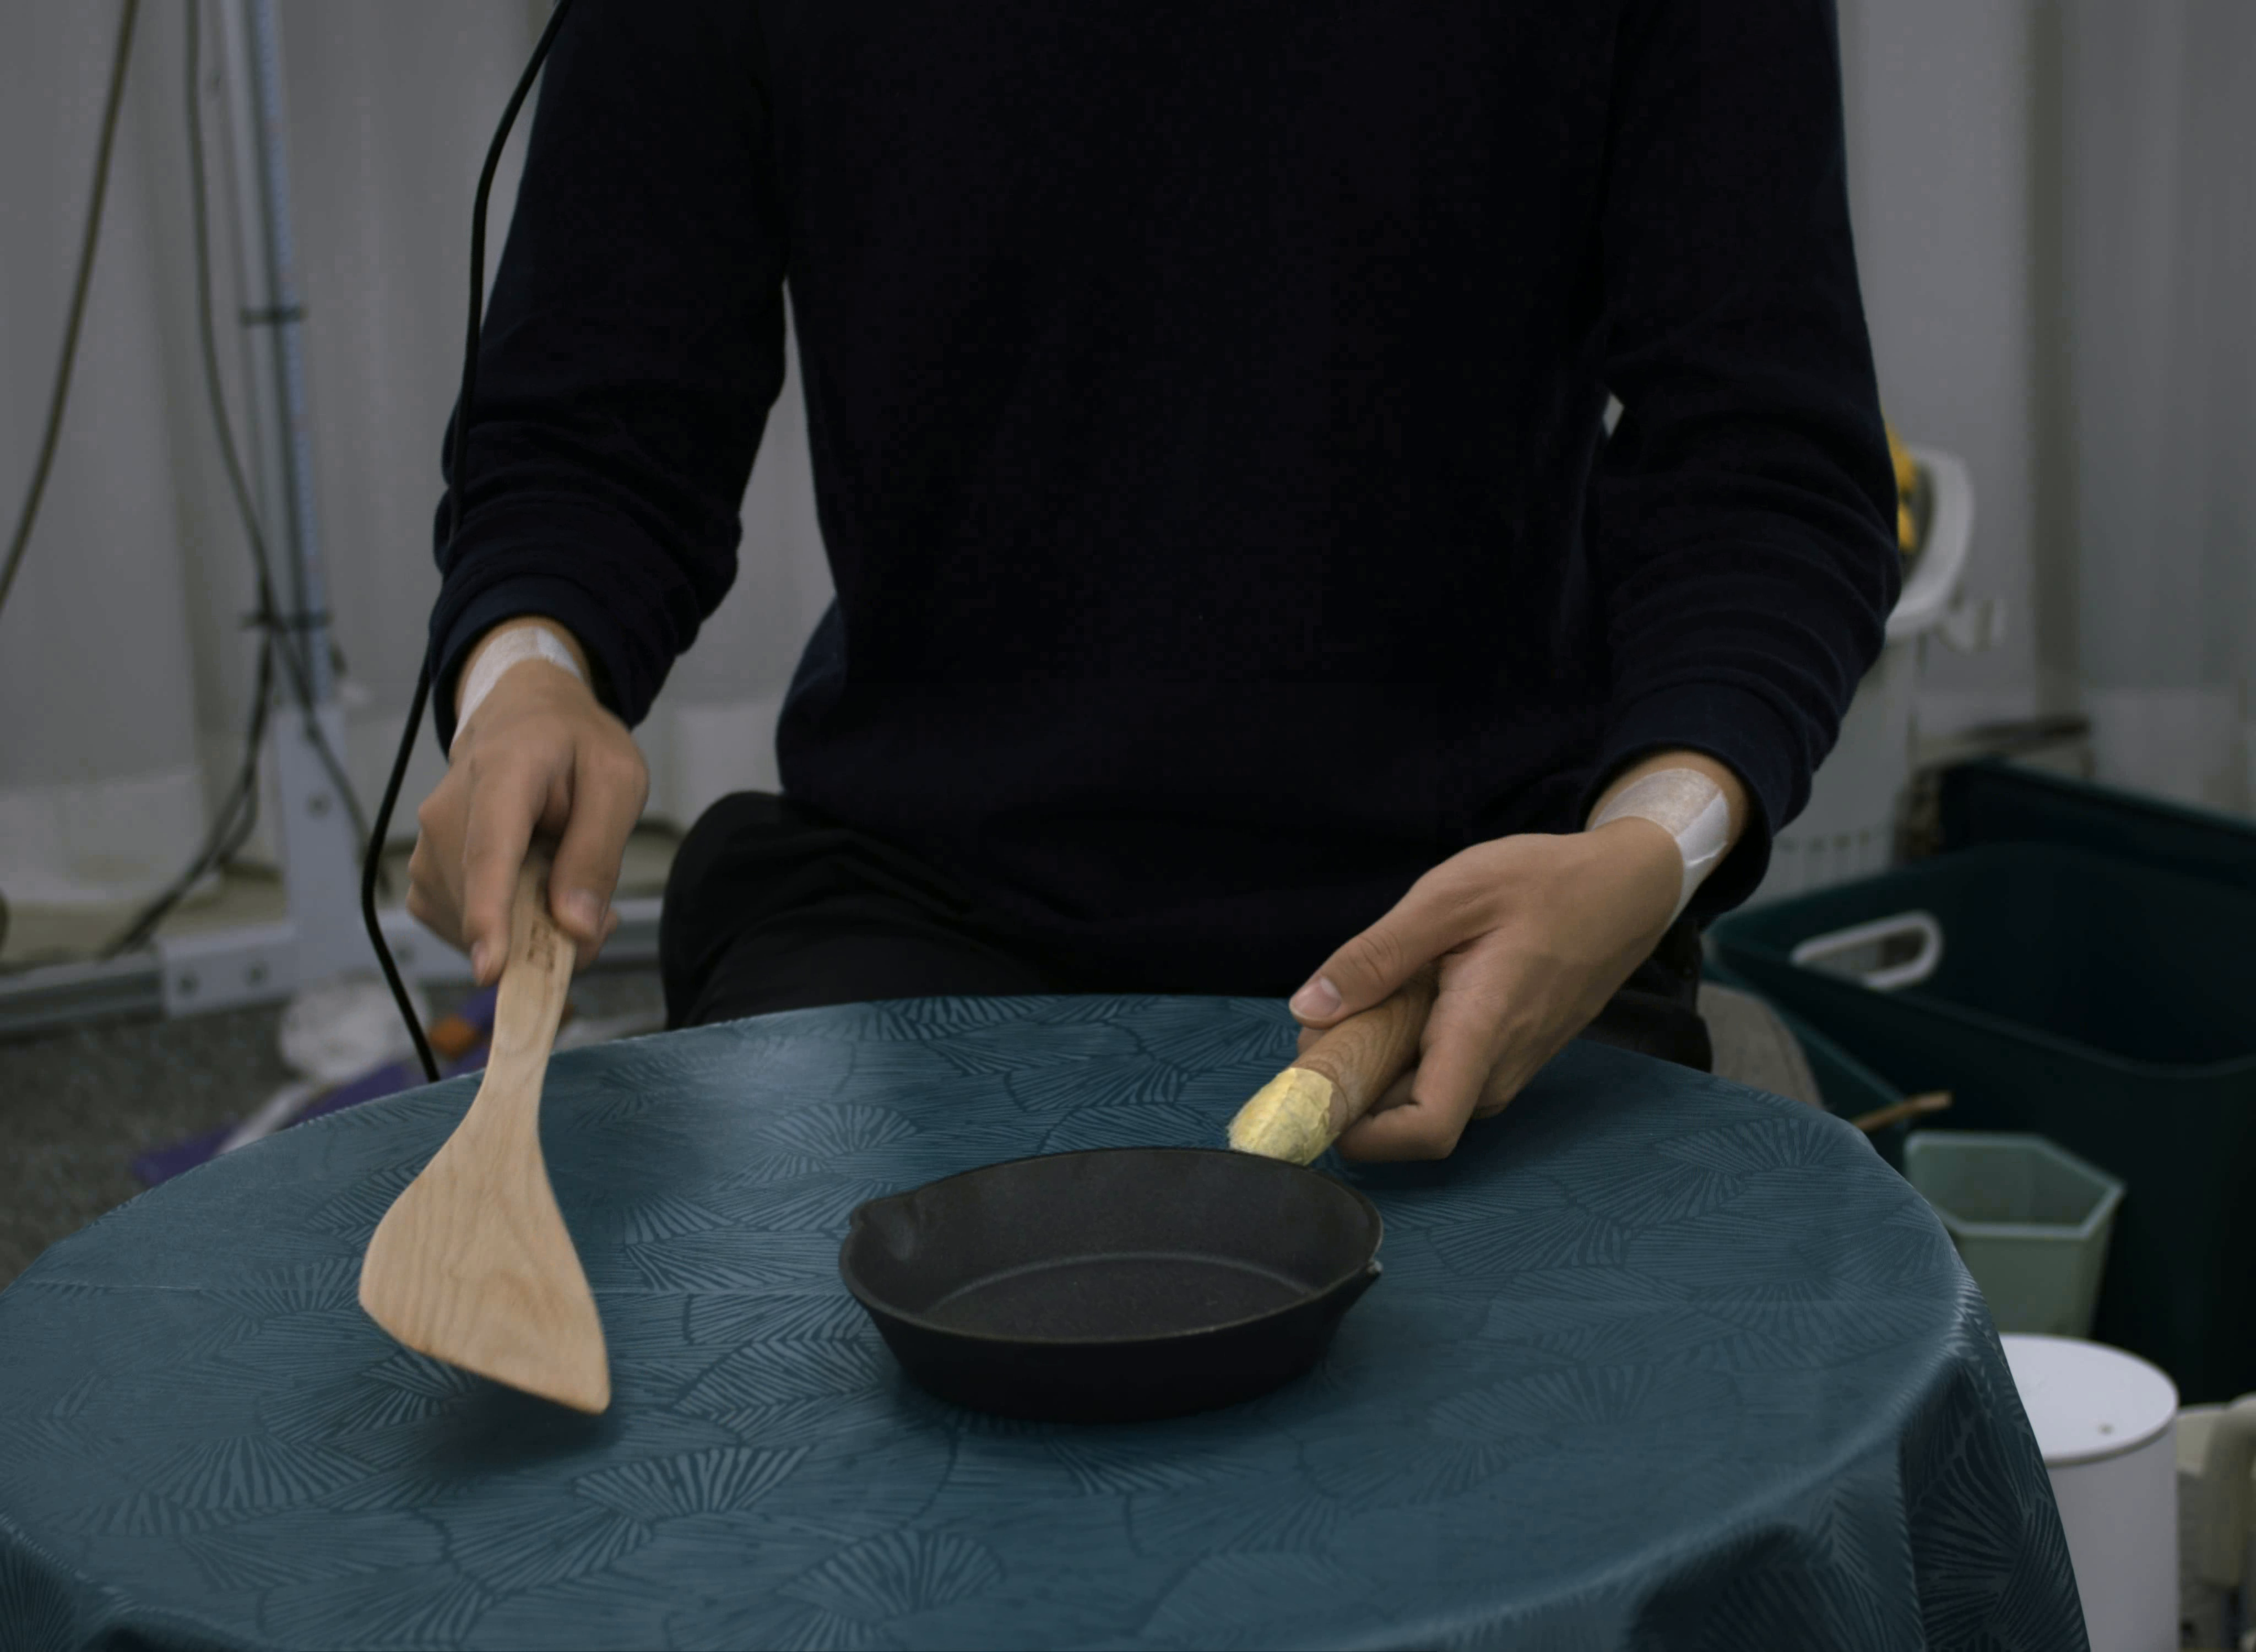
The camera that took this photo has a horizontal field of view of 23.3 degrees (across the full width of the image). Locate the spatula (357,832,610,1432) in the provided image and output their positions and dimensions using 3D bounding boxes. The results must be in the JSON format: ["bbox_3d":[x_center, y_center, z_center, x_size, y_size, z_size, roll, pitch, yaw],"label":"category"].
[{"bbox_3d":[-0.184,0.083,1.647,0.079,0.016,0.331,28,24,-16],"label":"spatula"}]

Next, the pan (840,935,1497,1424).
[{"bbox_3d":[0.038,0.103,1.644,0.169,0.049,0.325,6,20,30],"label":"pan"}]
